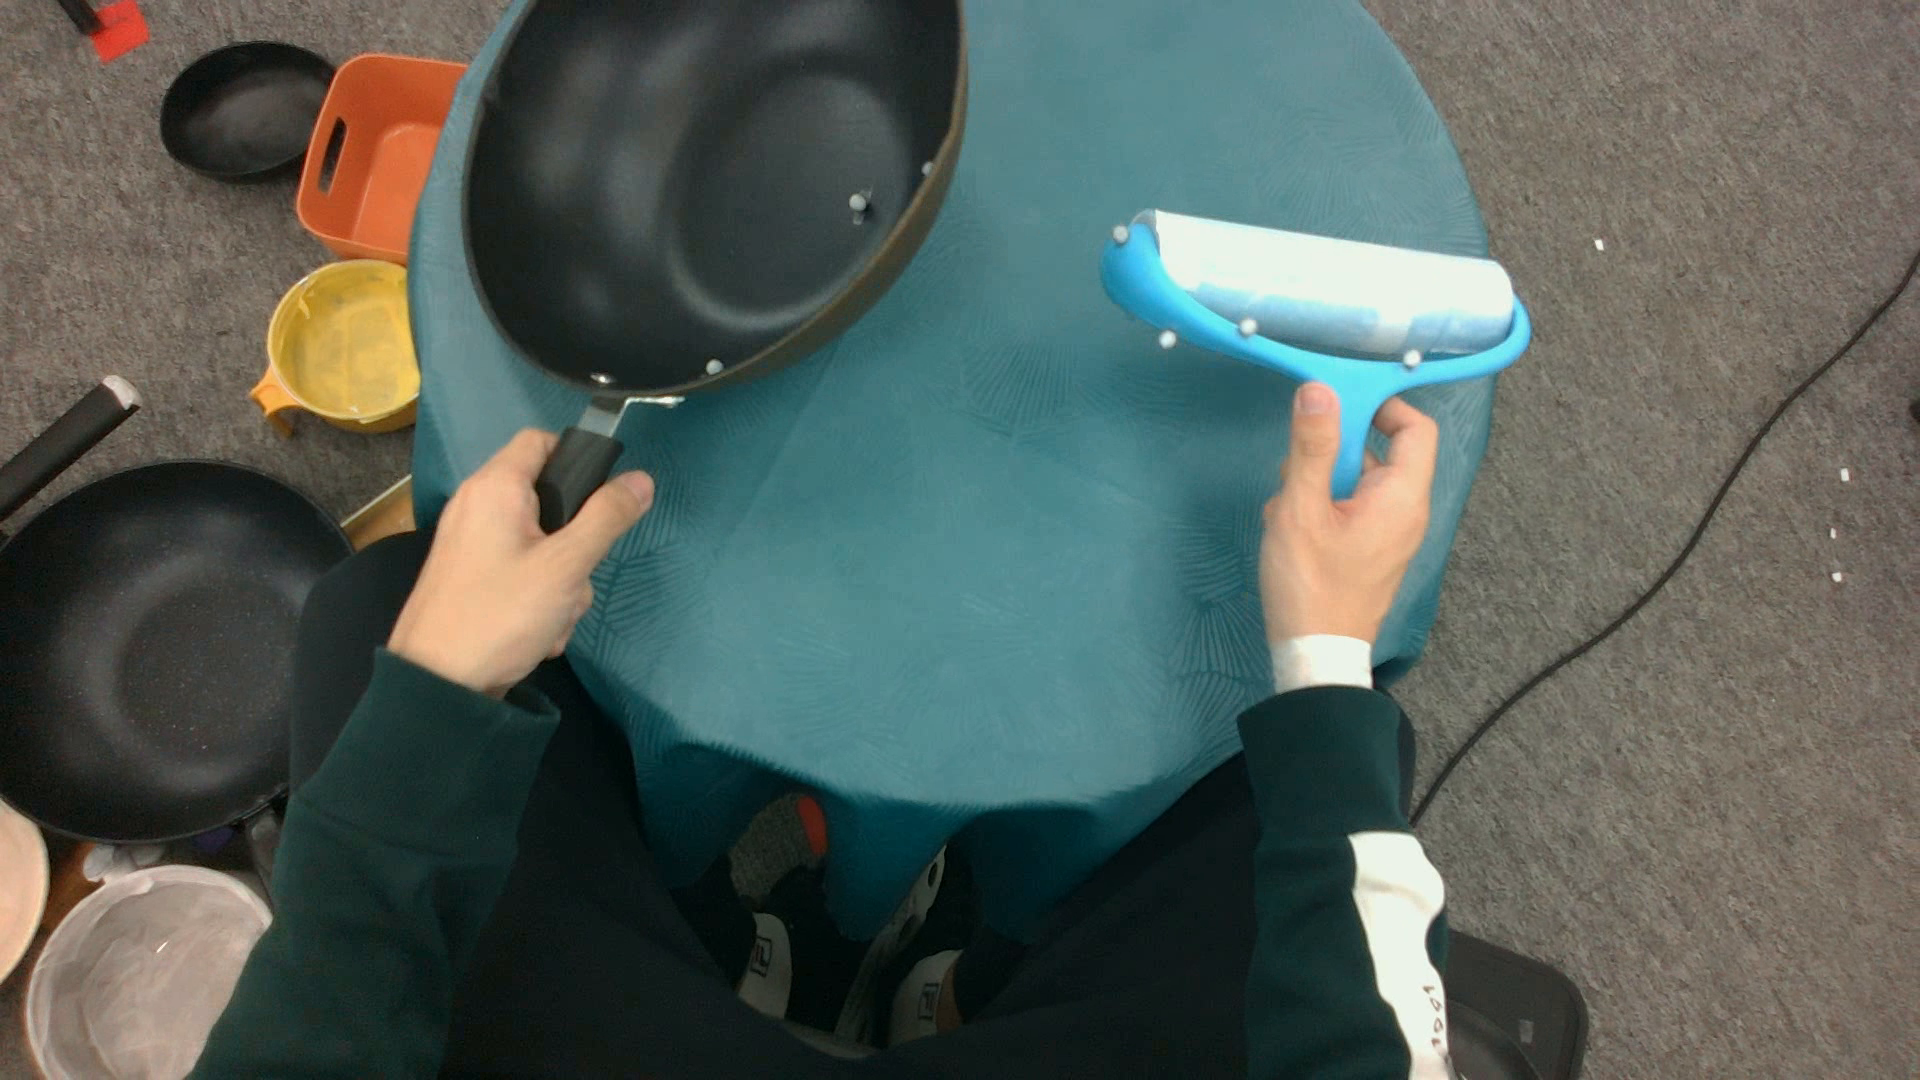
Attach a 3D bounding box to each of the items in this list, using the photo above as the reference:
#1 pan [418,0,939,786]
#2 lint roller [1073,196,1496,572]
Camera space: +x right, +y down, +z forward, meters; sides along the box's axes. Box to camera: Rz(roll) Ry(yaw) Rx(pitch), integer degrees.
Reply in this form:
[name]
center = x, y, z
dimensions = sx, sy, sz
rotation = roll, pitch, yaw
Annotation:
[pan]
center = -0.146, -0.105, 0.662
dimensions = 0.288, 0.087, 0.464
rotation = 13, 83, 31
[lint roller]
center = 0.169, -0.078, 0.680
dimensions = 0.229, 0.067, 0.180
rotation = -1, 79, -20
